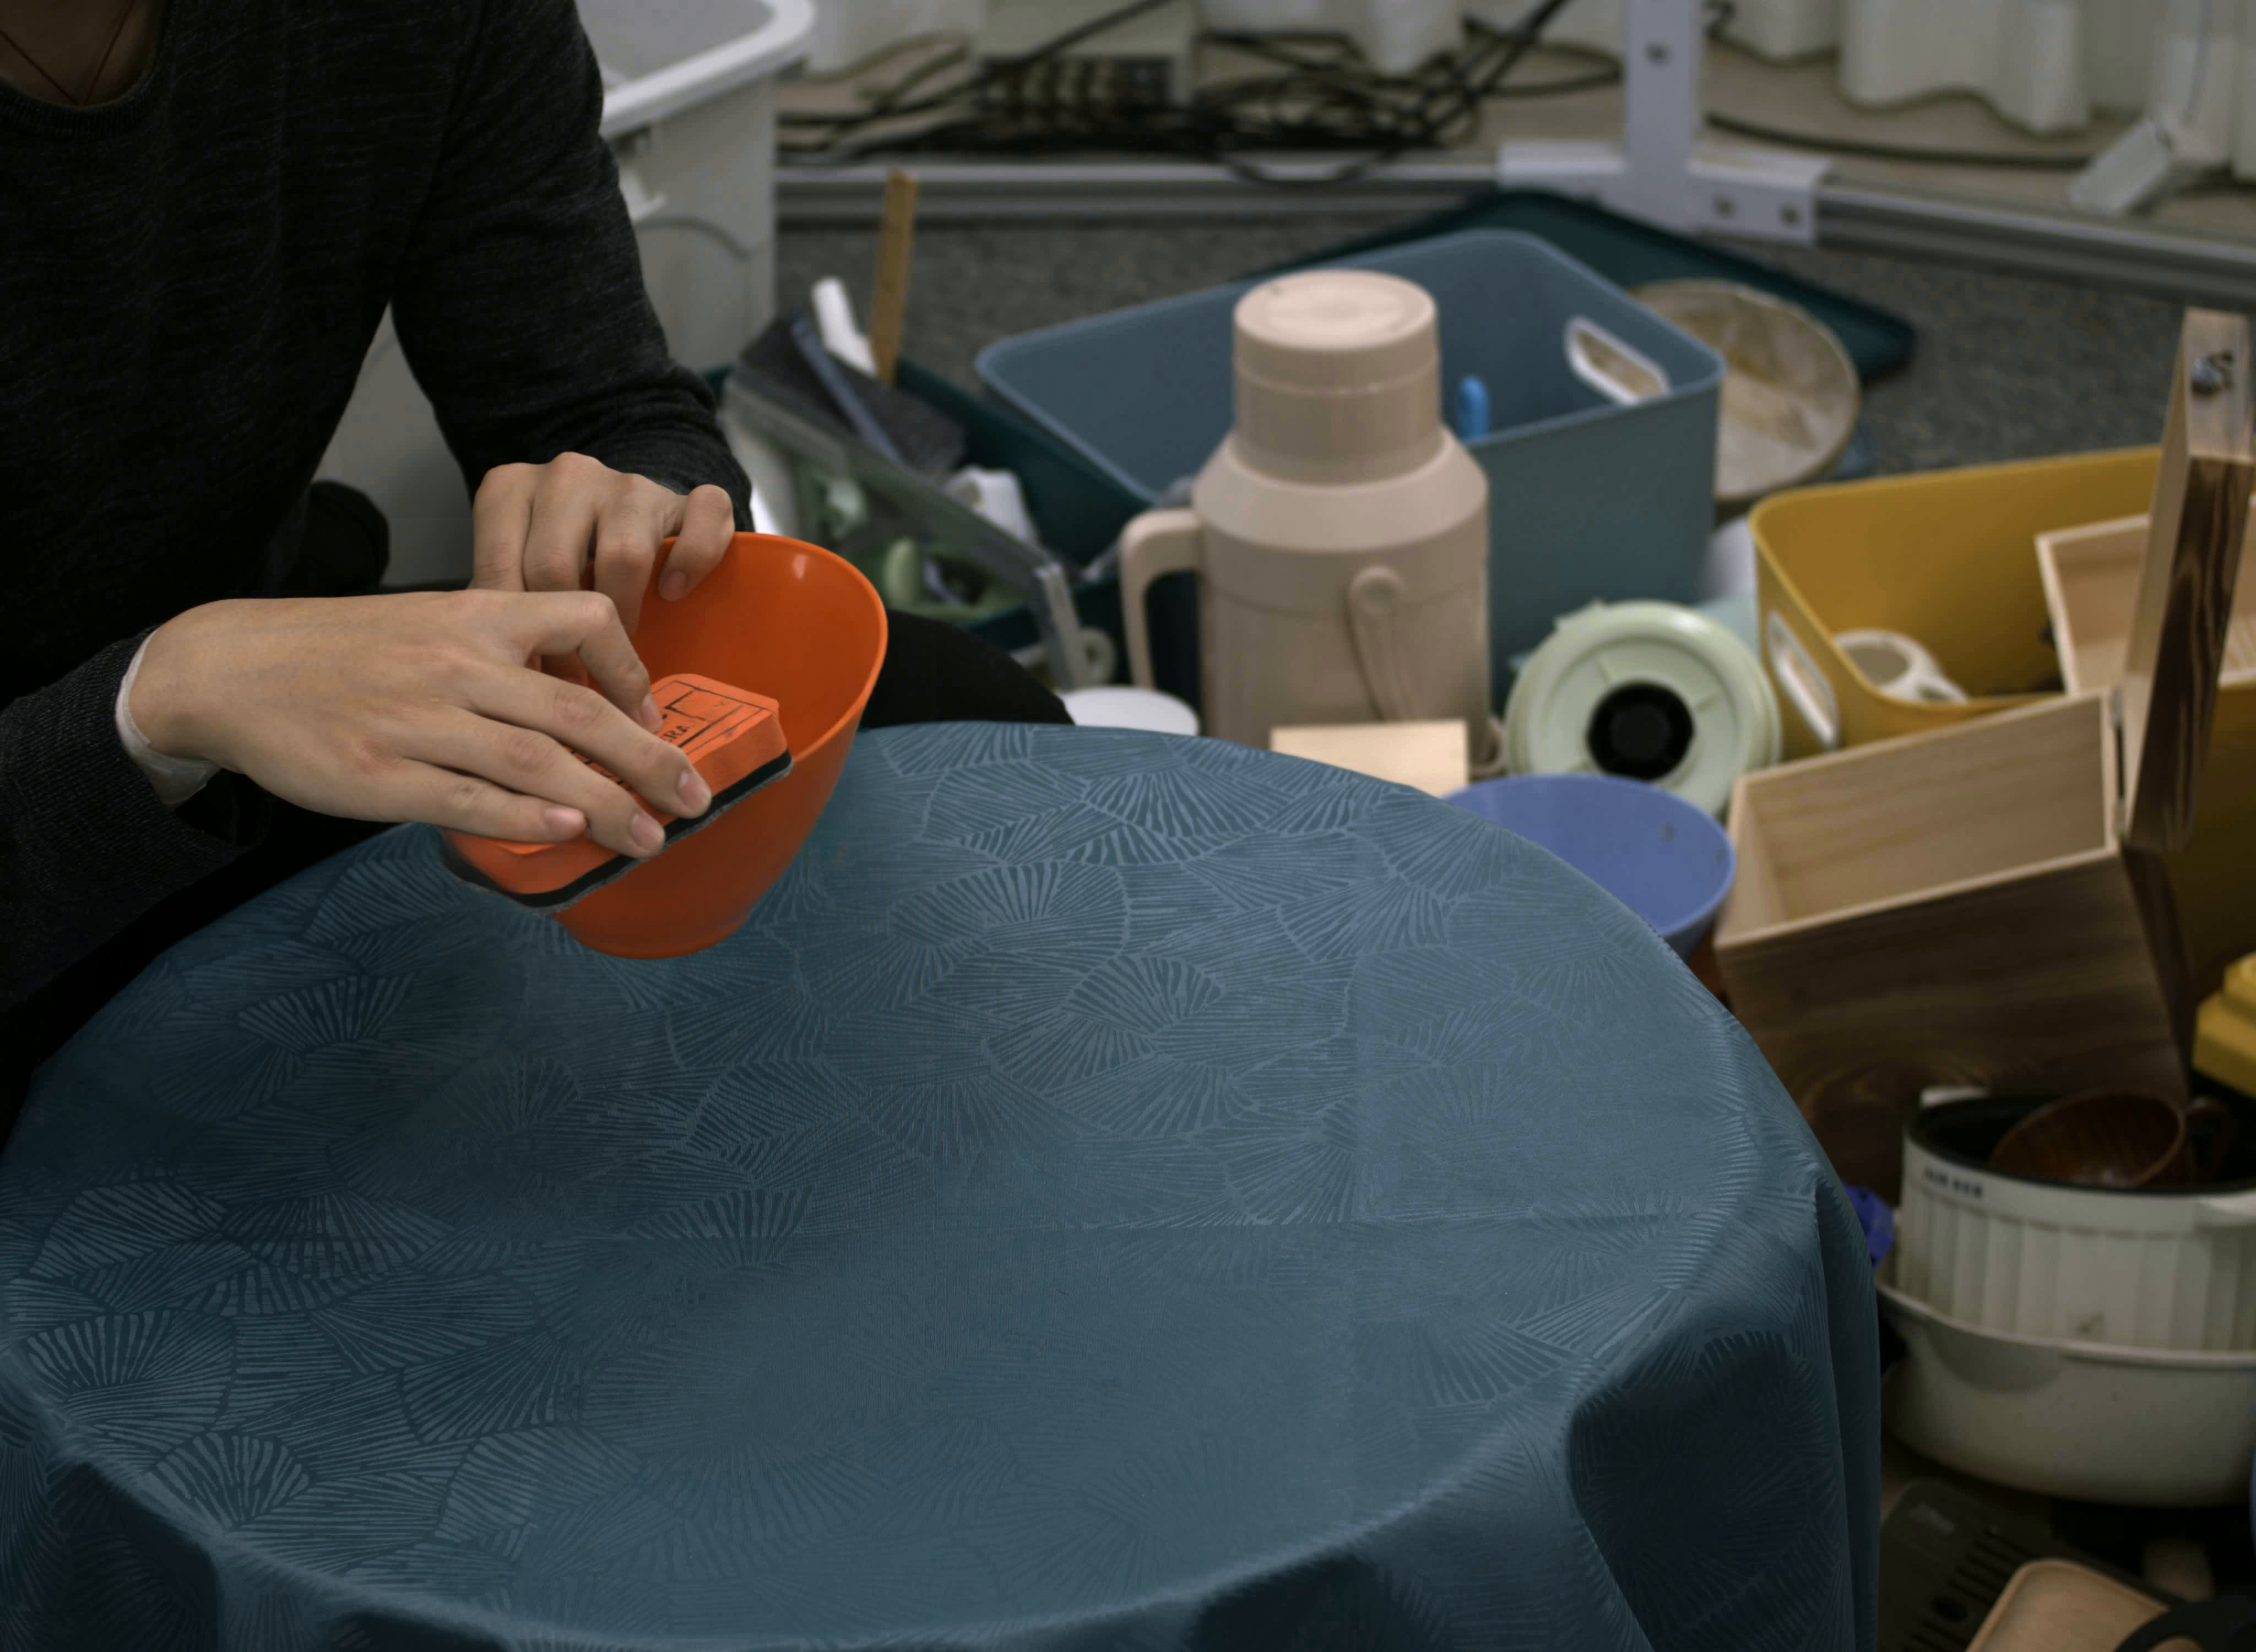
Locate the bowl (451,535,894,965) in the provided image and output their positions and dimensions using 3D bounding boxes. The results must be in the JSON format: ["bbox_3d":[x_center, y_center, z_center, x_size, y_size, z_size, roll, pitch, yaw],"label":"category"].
[{"bbox_3d":[-0.148,-0.017,1.870,0.147,0.103,0.151,-1,35,1],"label":"bowl"}]

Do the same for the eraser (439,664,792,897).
[{"bbox_3d":[-0.161,-0.015,1.775,0.059,0.022,0.109,17,38,42],"label":"eraser"}]
